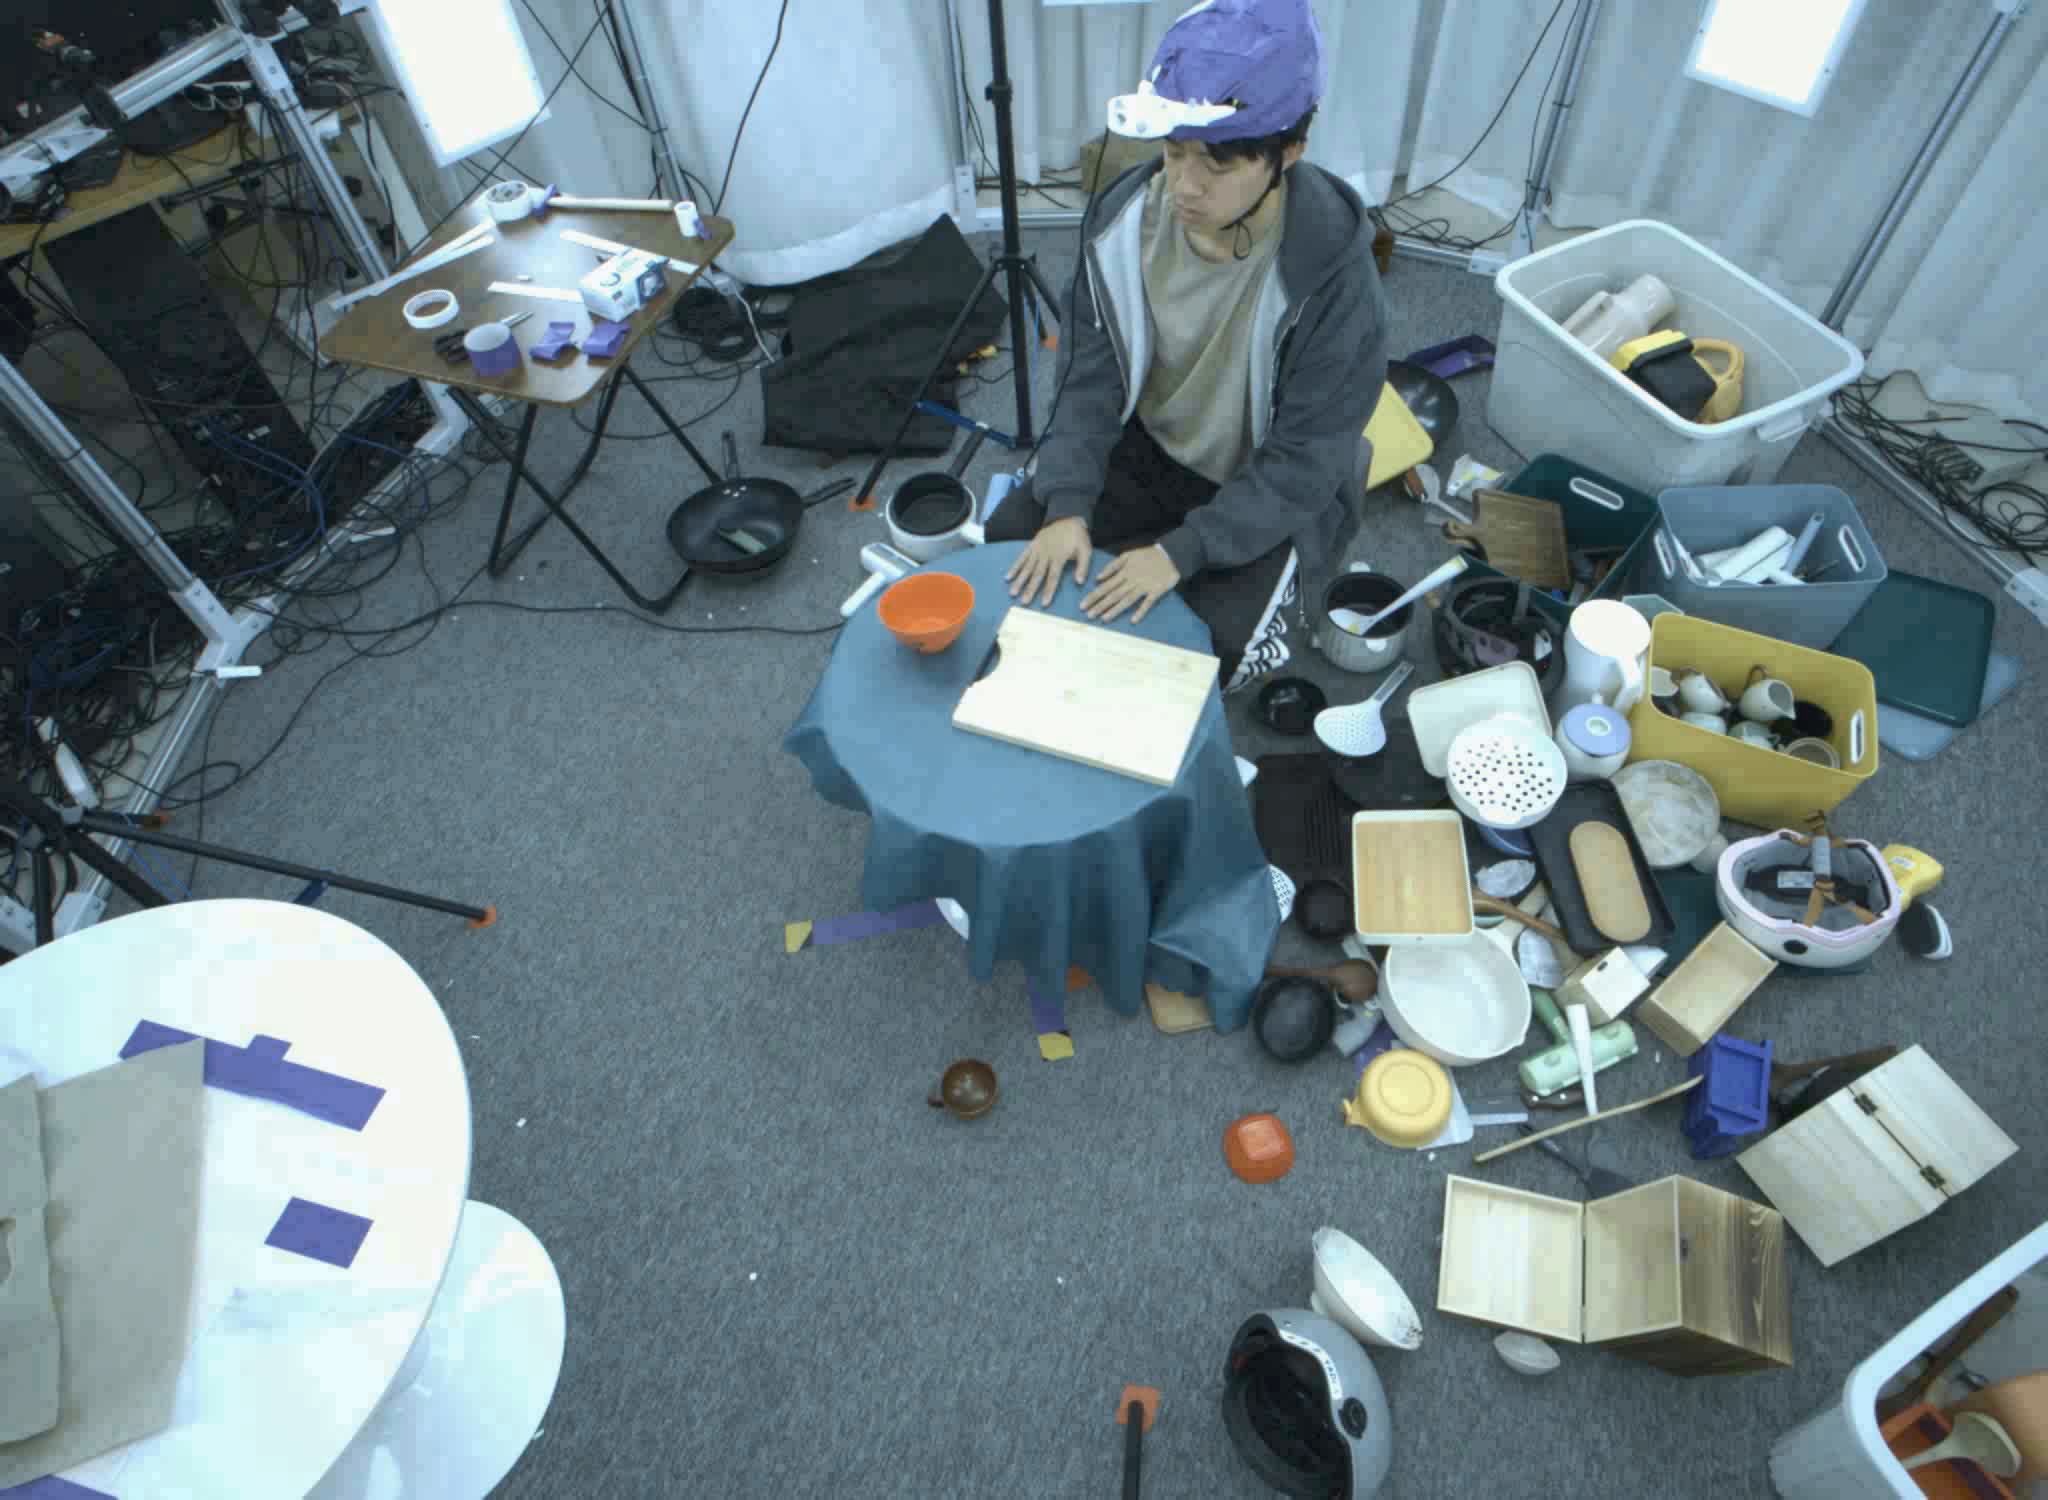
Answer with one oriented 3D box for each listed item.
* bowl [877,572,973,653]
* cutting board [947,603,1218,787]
[{"bbox_3d":[-0.146,-0.197,1.872,0.148,0.106,0.146,-2,55,4],"label":"bowl"},{"bbox_3d":[0.089,-0.089,1.841,0.345,0.024,0.250,16,56,13],"label":"cutting board"}]
